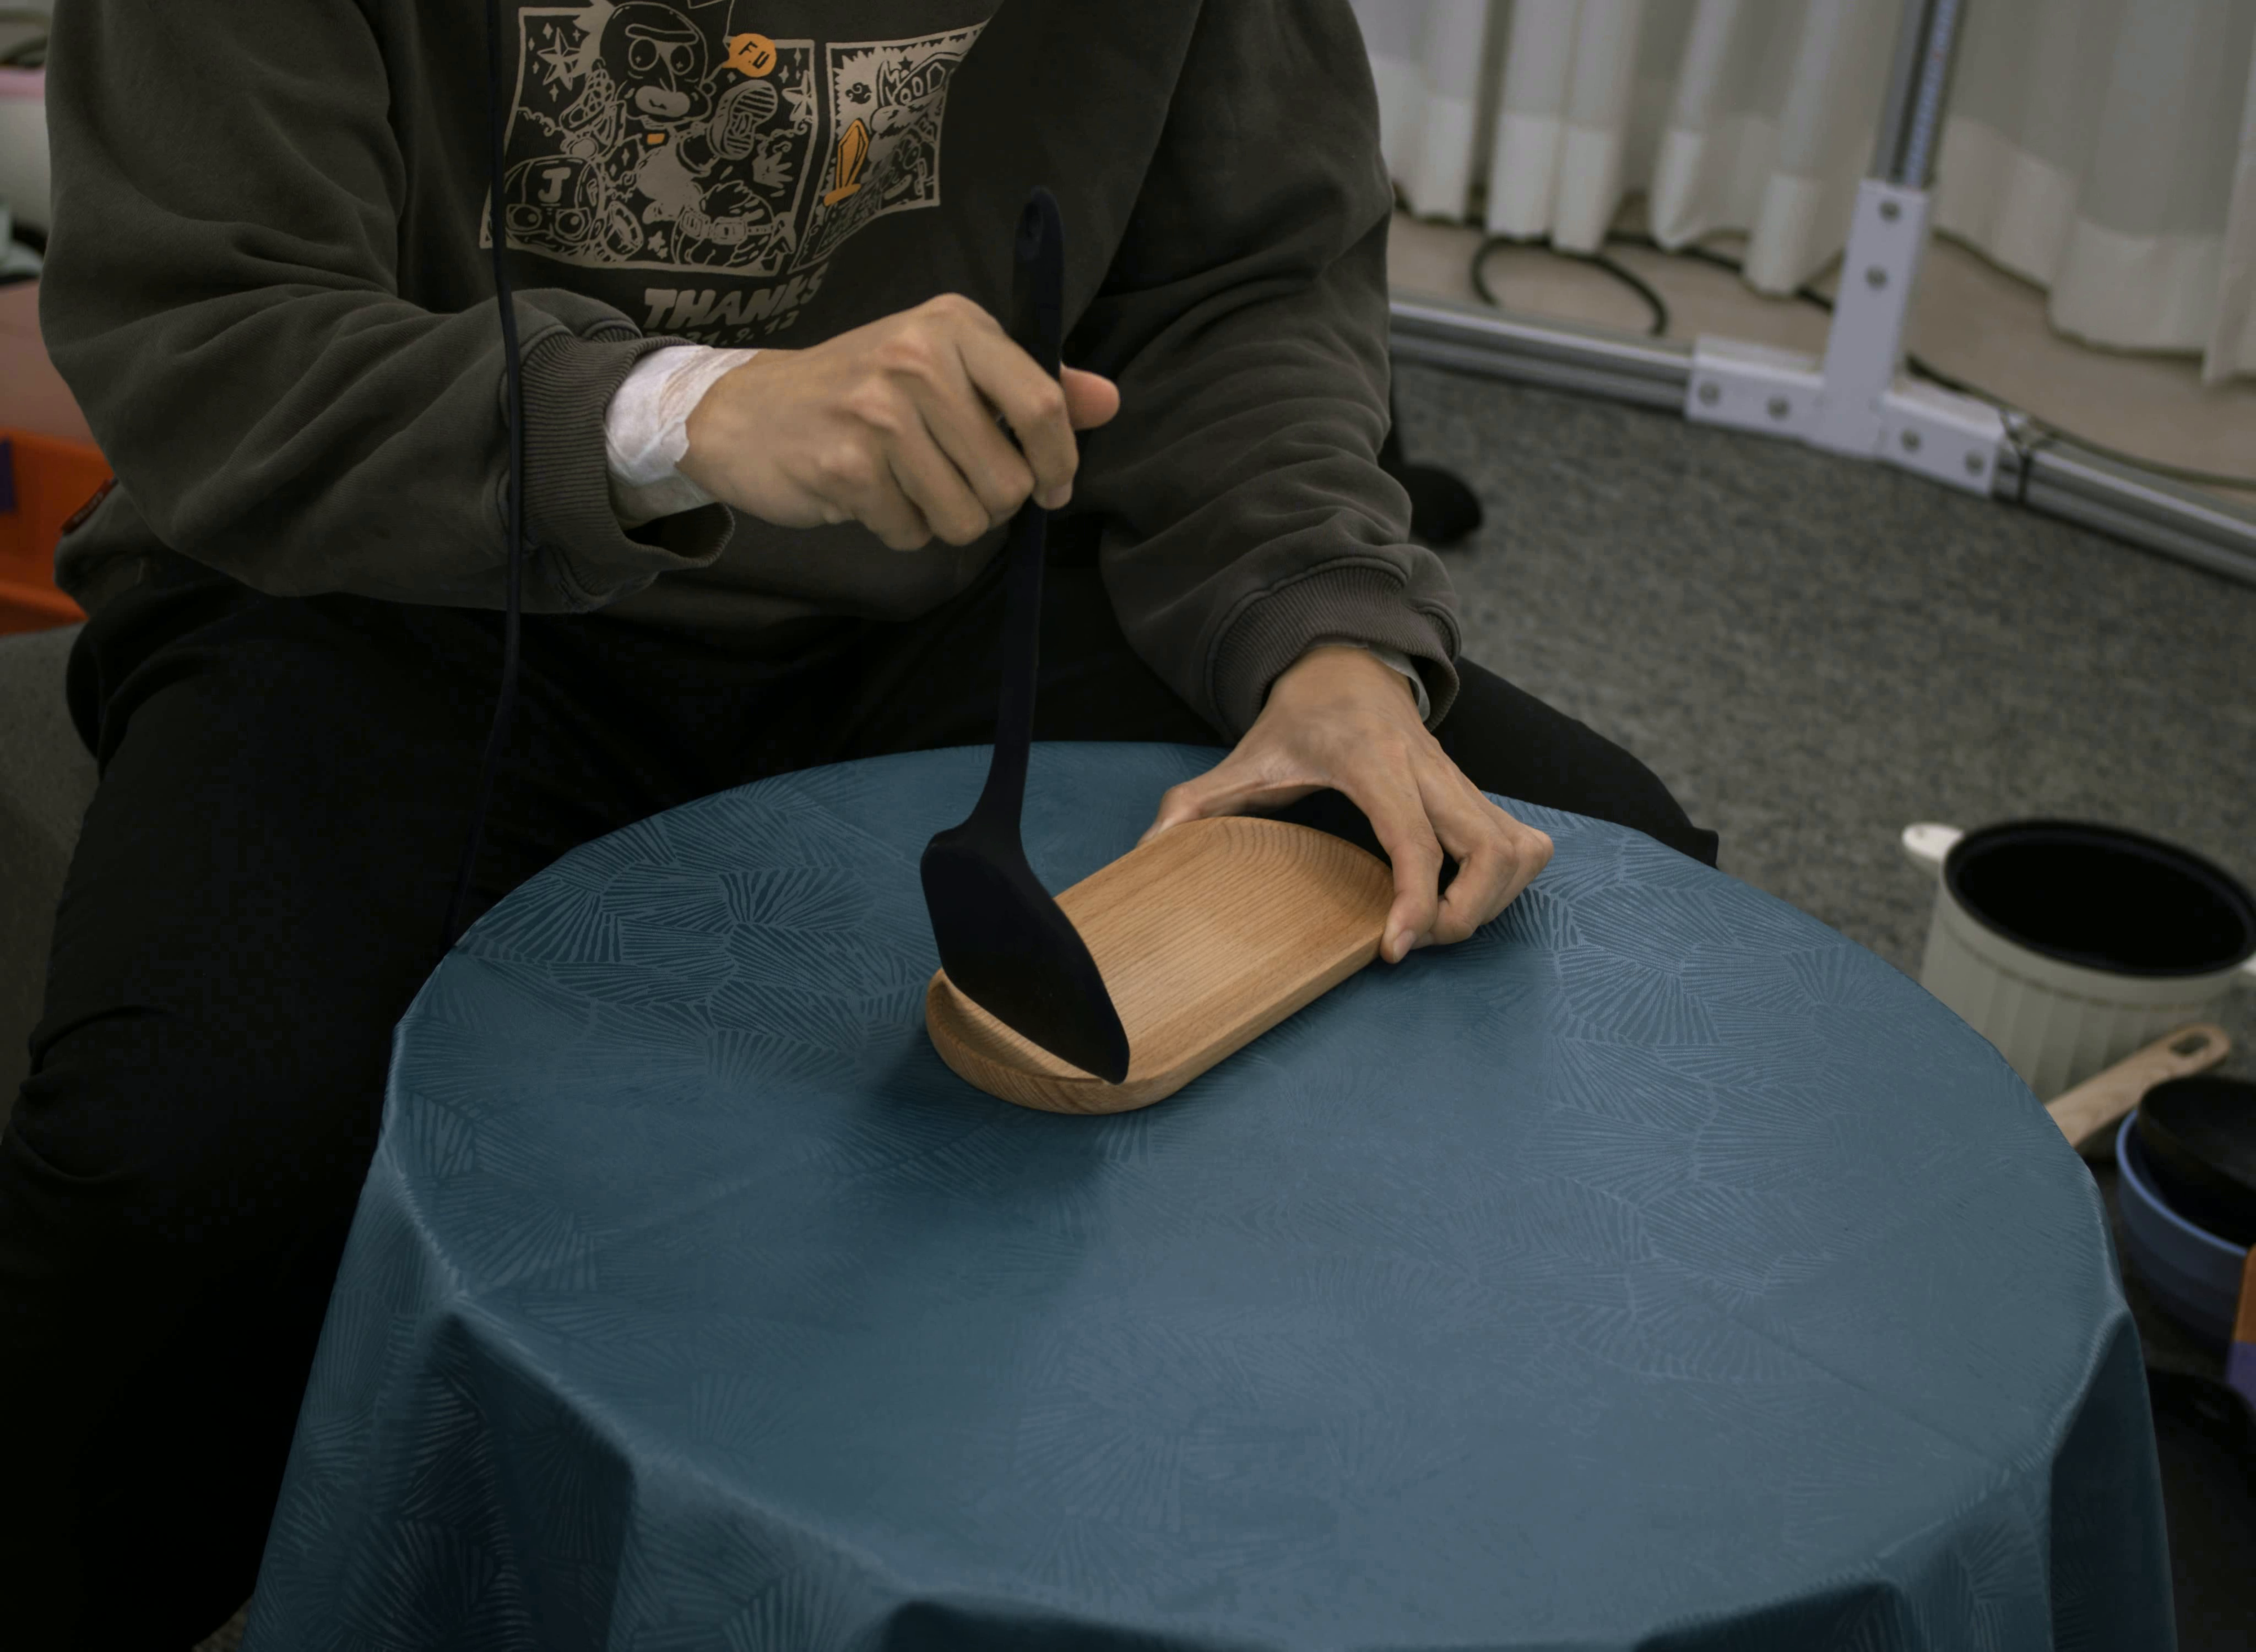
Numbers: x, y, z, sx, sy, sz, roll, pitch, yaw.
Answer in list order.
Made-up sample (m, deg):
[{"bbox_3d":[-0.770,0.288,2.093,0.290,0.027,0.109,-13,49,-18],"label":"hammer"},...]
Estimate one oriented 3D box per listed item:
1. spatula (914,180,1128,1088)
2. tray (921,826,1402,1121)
[{"bbox_3d":[-0.032,-0.063,1.782,0.040,0.325,0.100,-18,34,-40],"label":"spatula"},{"bbox_3d":[0.014,0.052,1.931,0.102,0.020,0.230,23,33,28],"label":"tray"}]
